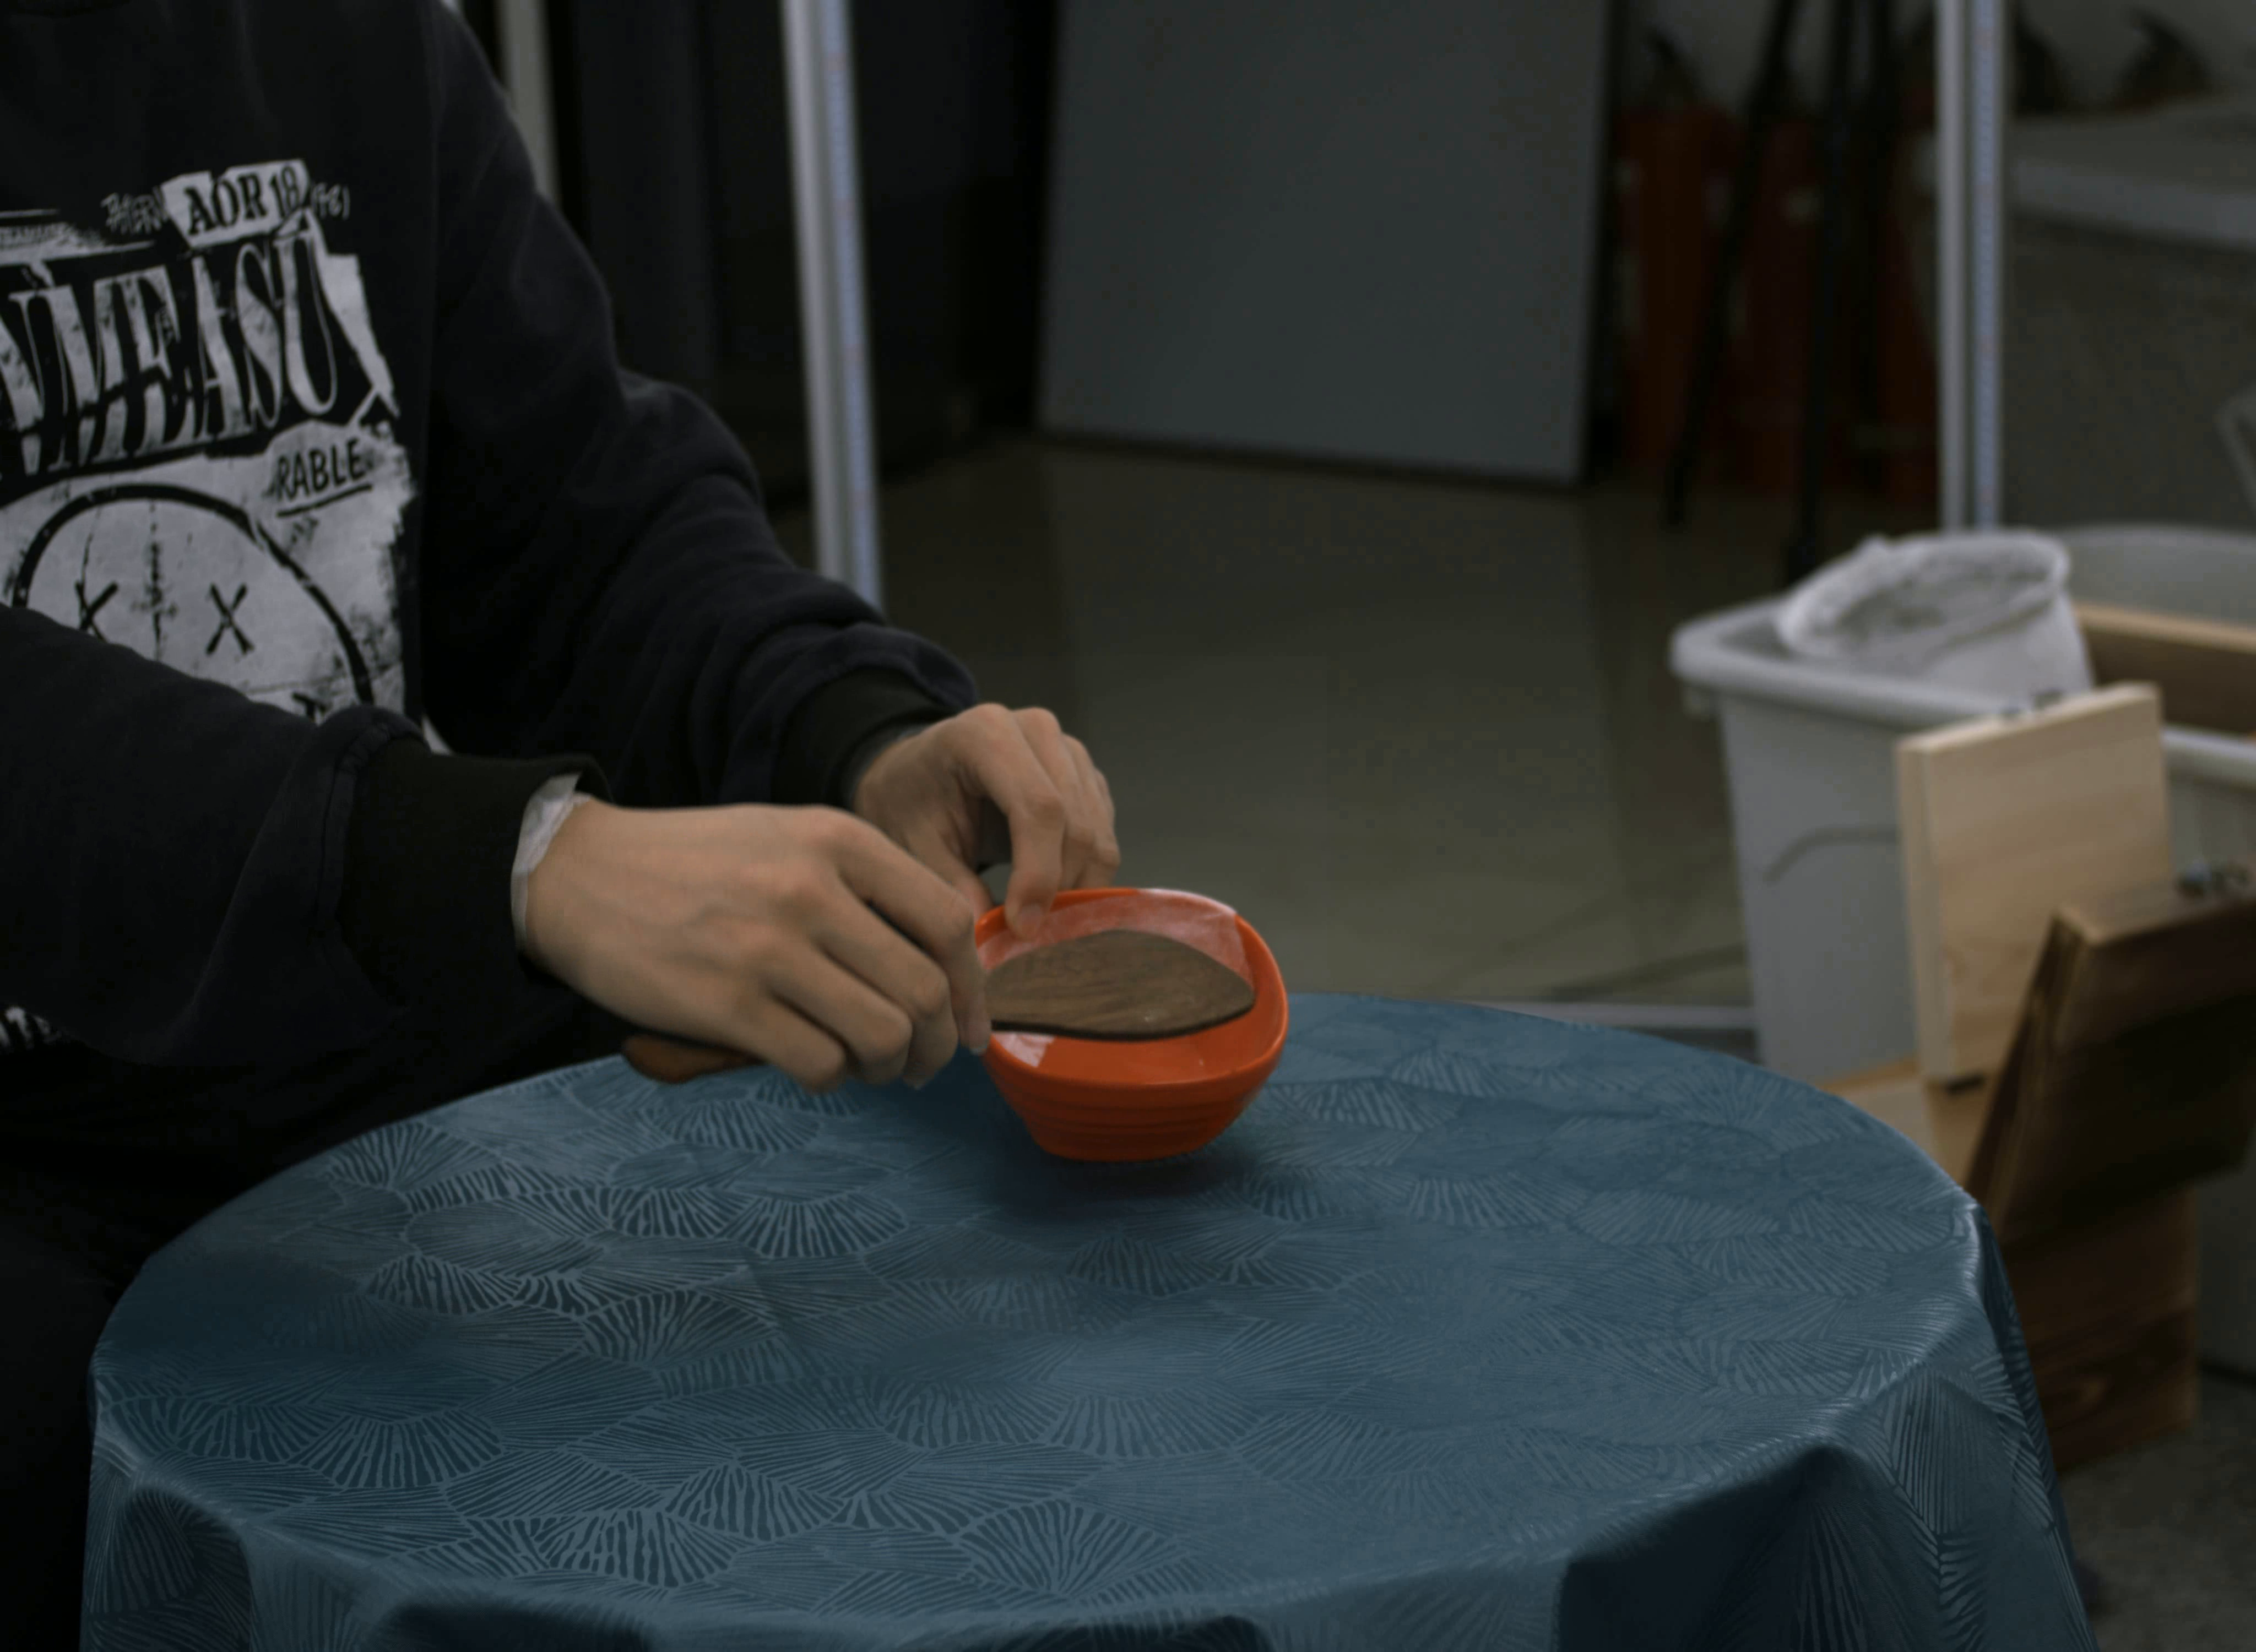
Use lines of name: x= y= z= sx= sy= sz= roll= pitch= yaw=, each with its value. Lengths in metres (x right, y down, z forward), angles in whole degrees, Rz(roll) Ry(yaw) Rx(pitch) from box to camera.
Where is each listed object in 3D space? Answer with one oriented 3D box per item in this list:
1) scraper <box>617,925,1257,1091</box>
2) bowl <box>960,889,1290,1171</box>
scraper: x=-0.061 y=0.061 z=1.674 sx=0.206 sy=0.011 sz=0.077 roll=-9 pitch=25 yaw=-29
bowl: x=-0.003 y=0.074 z=1.811 sx=0.117 sy=0.052 sz=0.119 roll=3 pitch=36 yaw=-3
